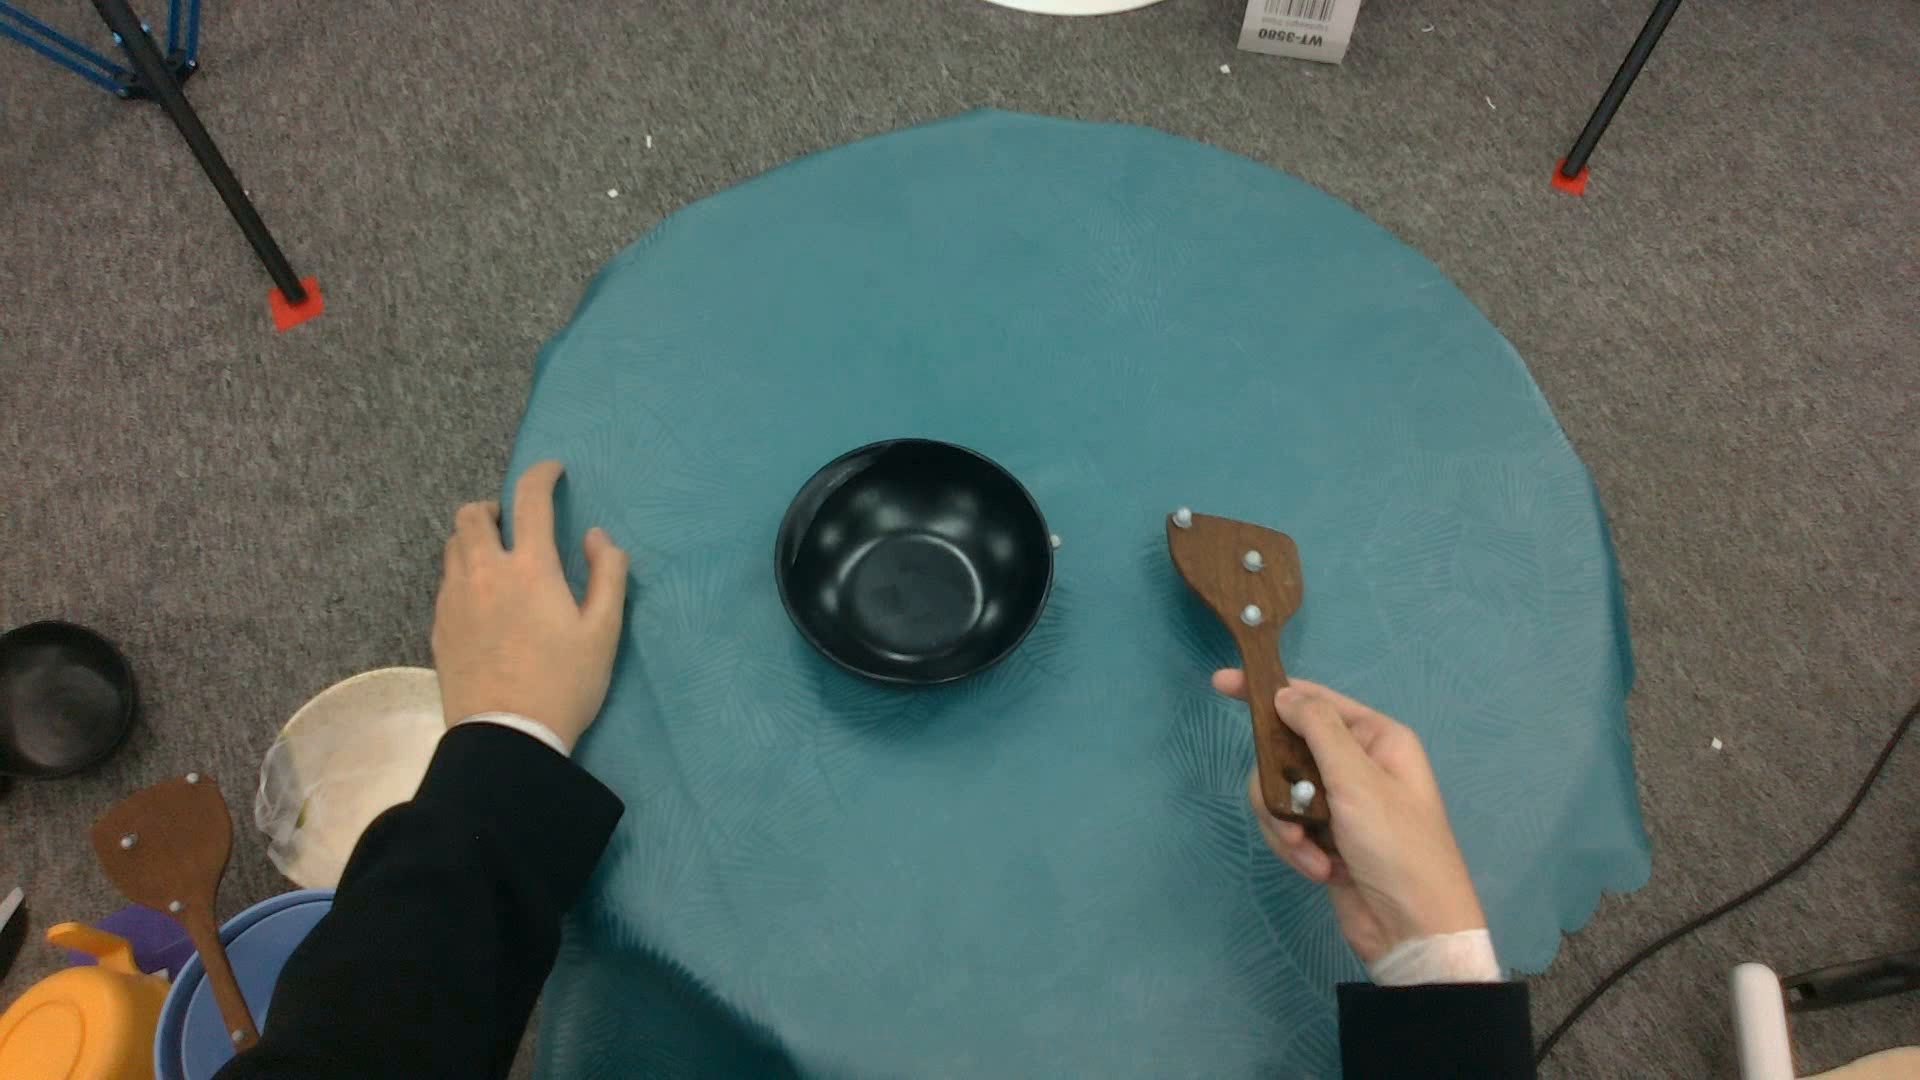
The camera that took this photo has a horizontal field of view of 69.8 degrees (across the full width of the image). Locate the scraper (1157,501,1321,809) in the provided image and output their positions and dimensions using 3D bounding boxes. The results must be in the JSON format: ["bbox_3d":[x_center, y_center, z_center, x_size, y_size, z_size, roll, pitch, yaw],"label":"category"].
[{"bbox_3d":[0.138,0.048,0.652,0.076,0.011,0.212,12,35,-7],"label":"scraper"}]

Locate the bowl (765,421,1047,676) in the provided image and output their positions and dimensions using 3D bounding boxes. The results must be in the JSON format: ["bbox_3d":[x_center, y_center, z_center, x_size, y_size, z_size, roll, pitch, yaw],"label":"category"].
[{"bbox_3d":[-0.028,0.010,0.696,0.140,0.049,0.140,3,61,-5],"label":"bowl"}]
